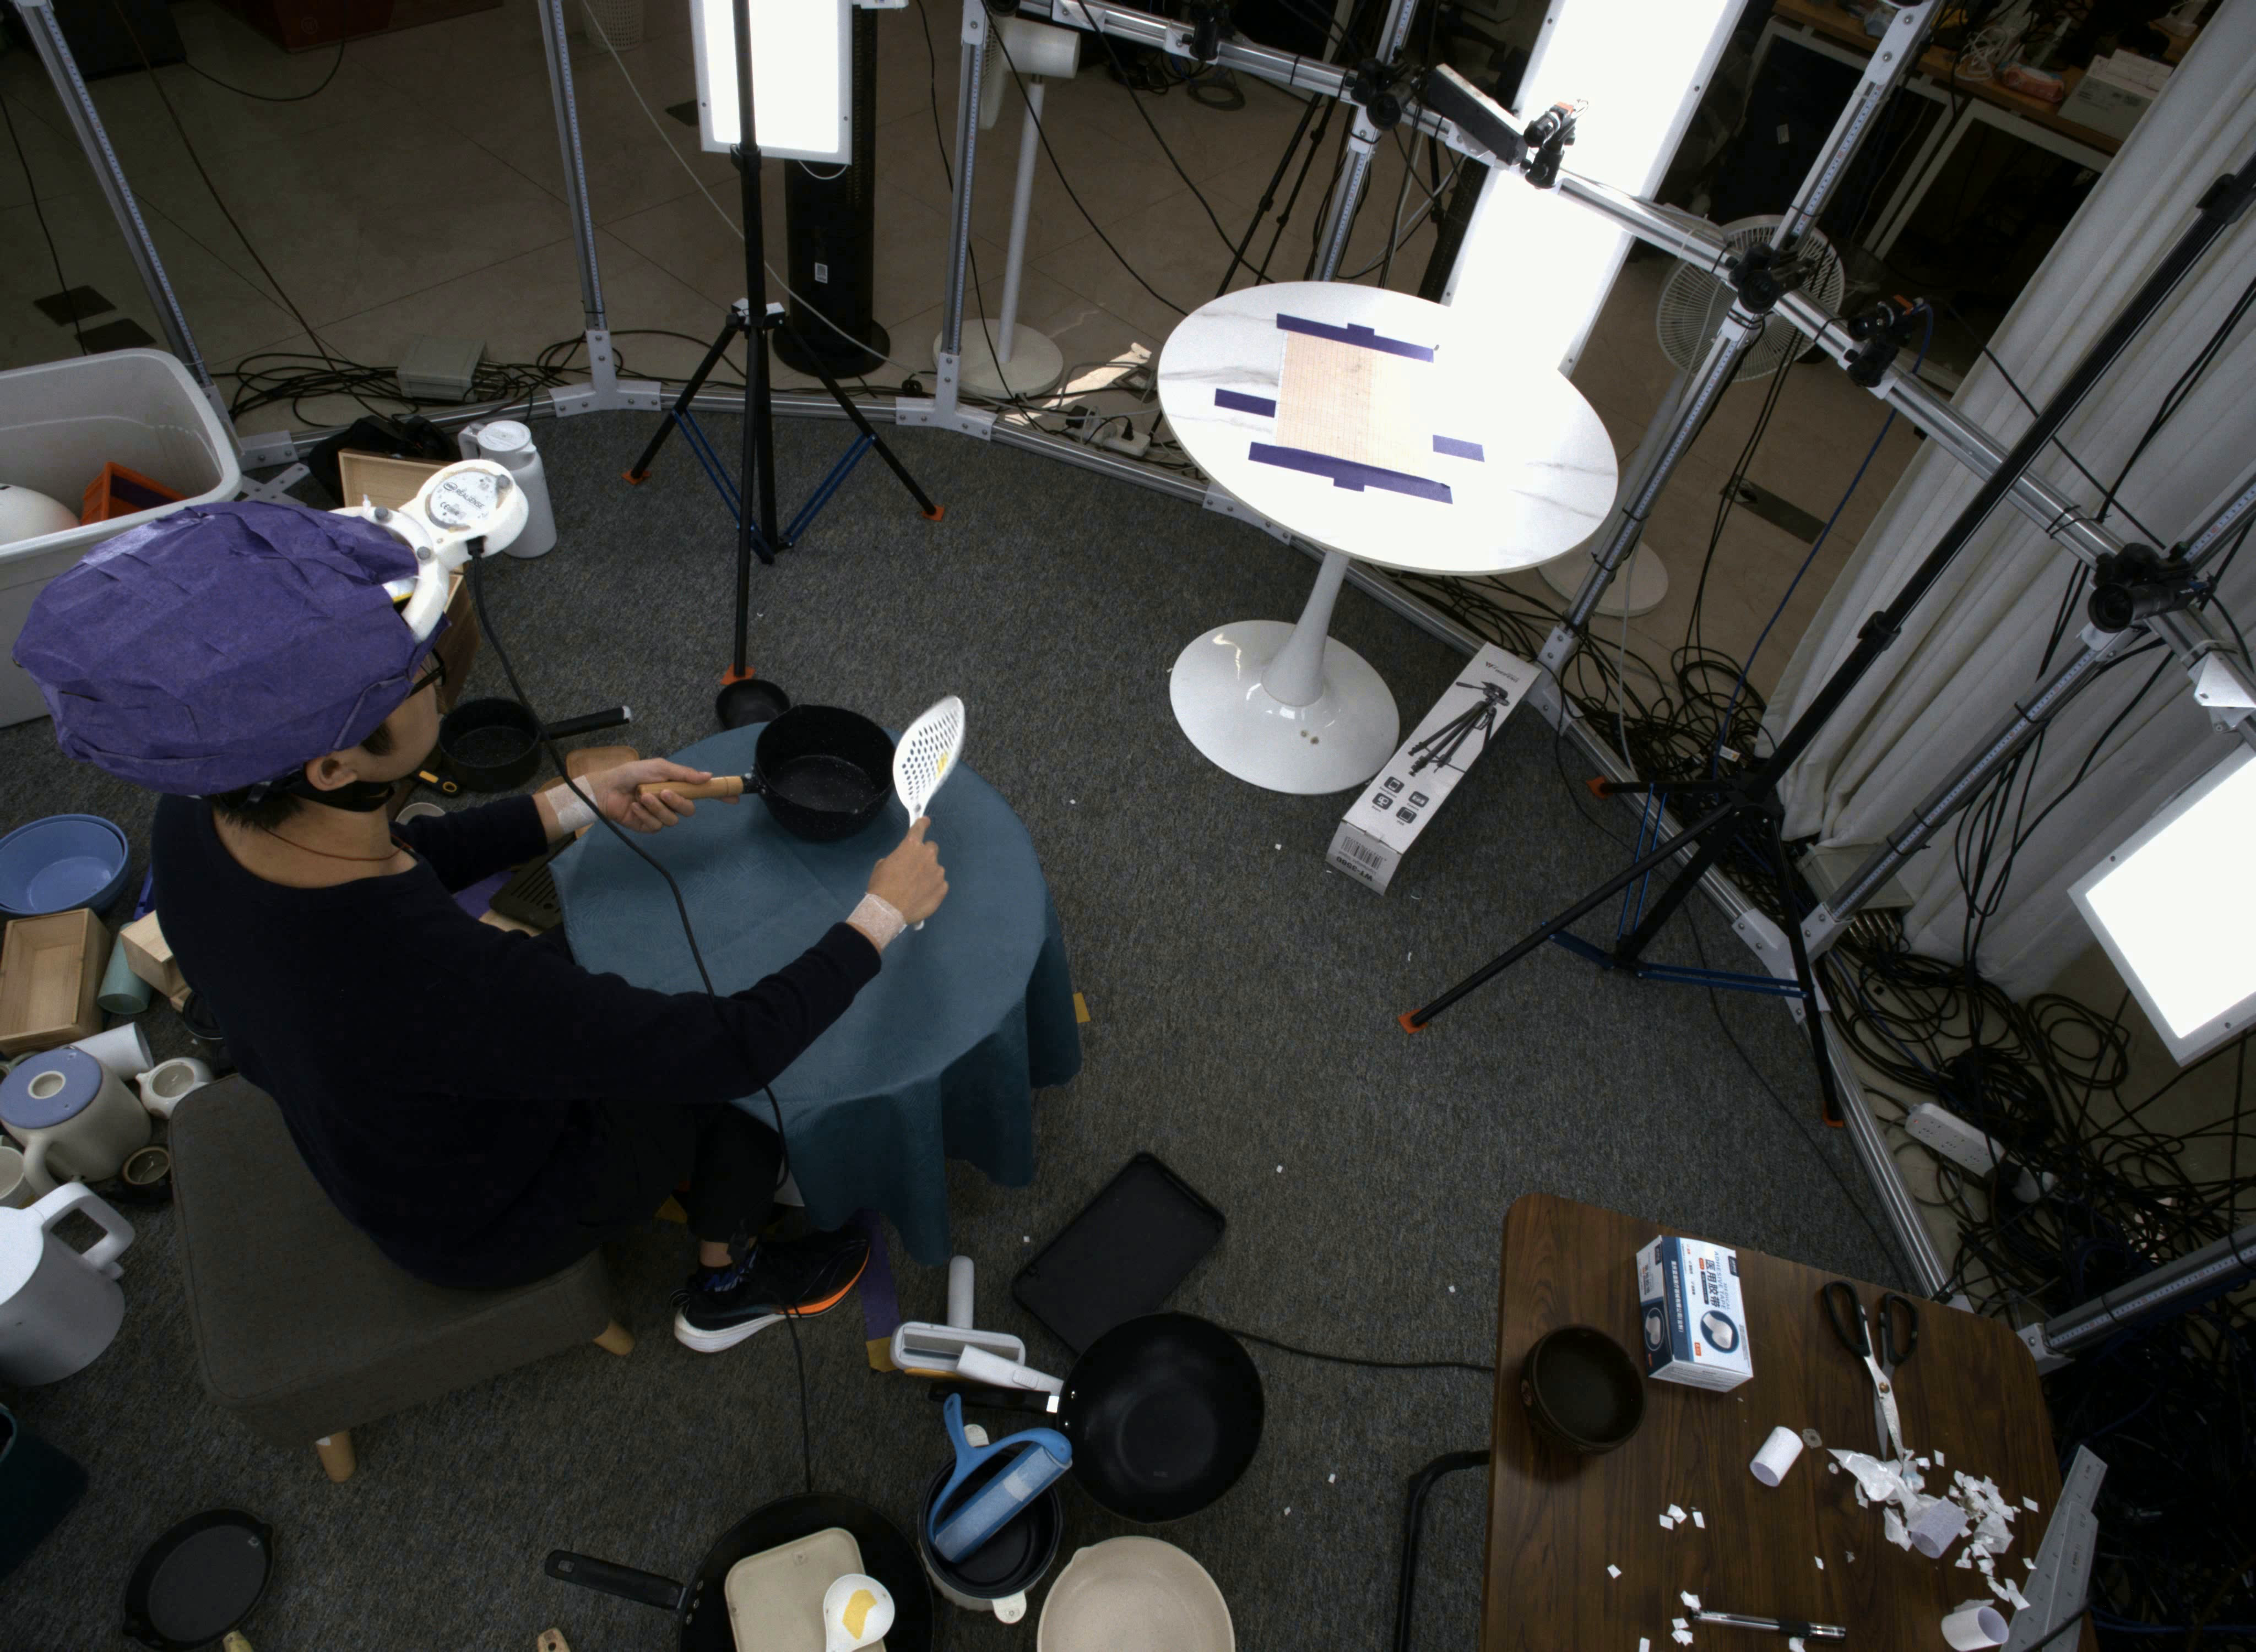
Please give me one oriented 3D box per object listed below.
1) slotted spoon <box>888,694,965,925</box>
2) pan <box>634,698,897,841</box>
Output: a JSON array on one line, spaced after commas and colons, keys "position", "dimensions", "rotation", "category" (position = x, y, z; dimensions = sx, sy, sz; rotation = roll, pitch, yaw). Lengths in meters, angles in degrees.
[{"position": [-0.251, -0.022, 1.605], "dimensions": [0.052, 0.135, 0.341], "rotation": [42, 34, -33], "category": "slotted spoon"}, {"position": [-0.463, -0.053, 1.656], "dimensions": [0.346, 0.110, 0.202], "rotation": [-18, 61, -34], "category": "pan"}]
